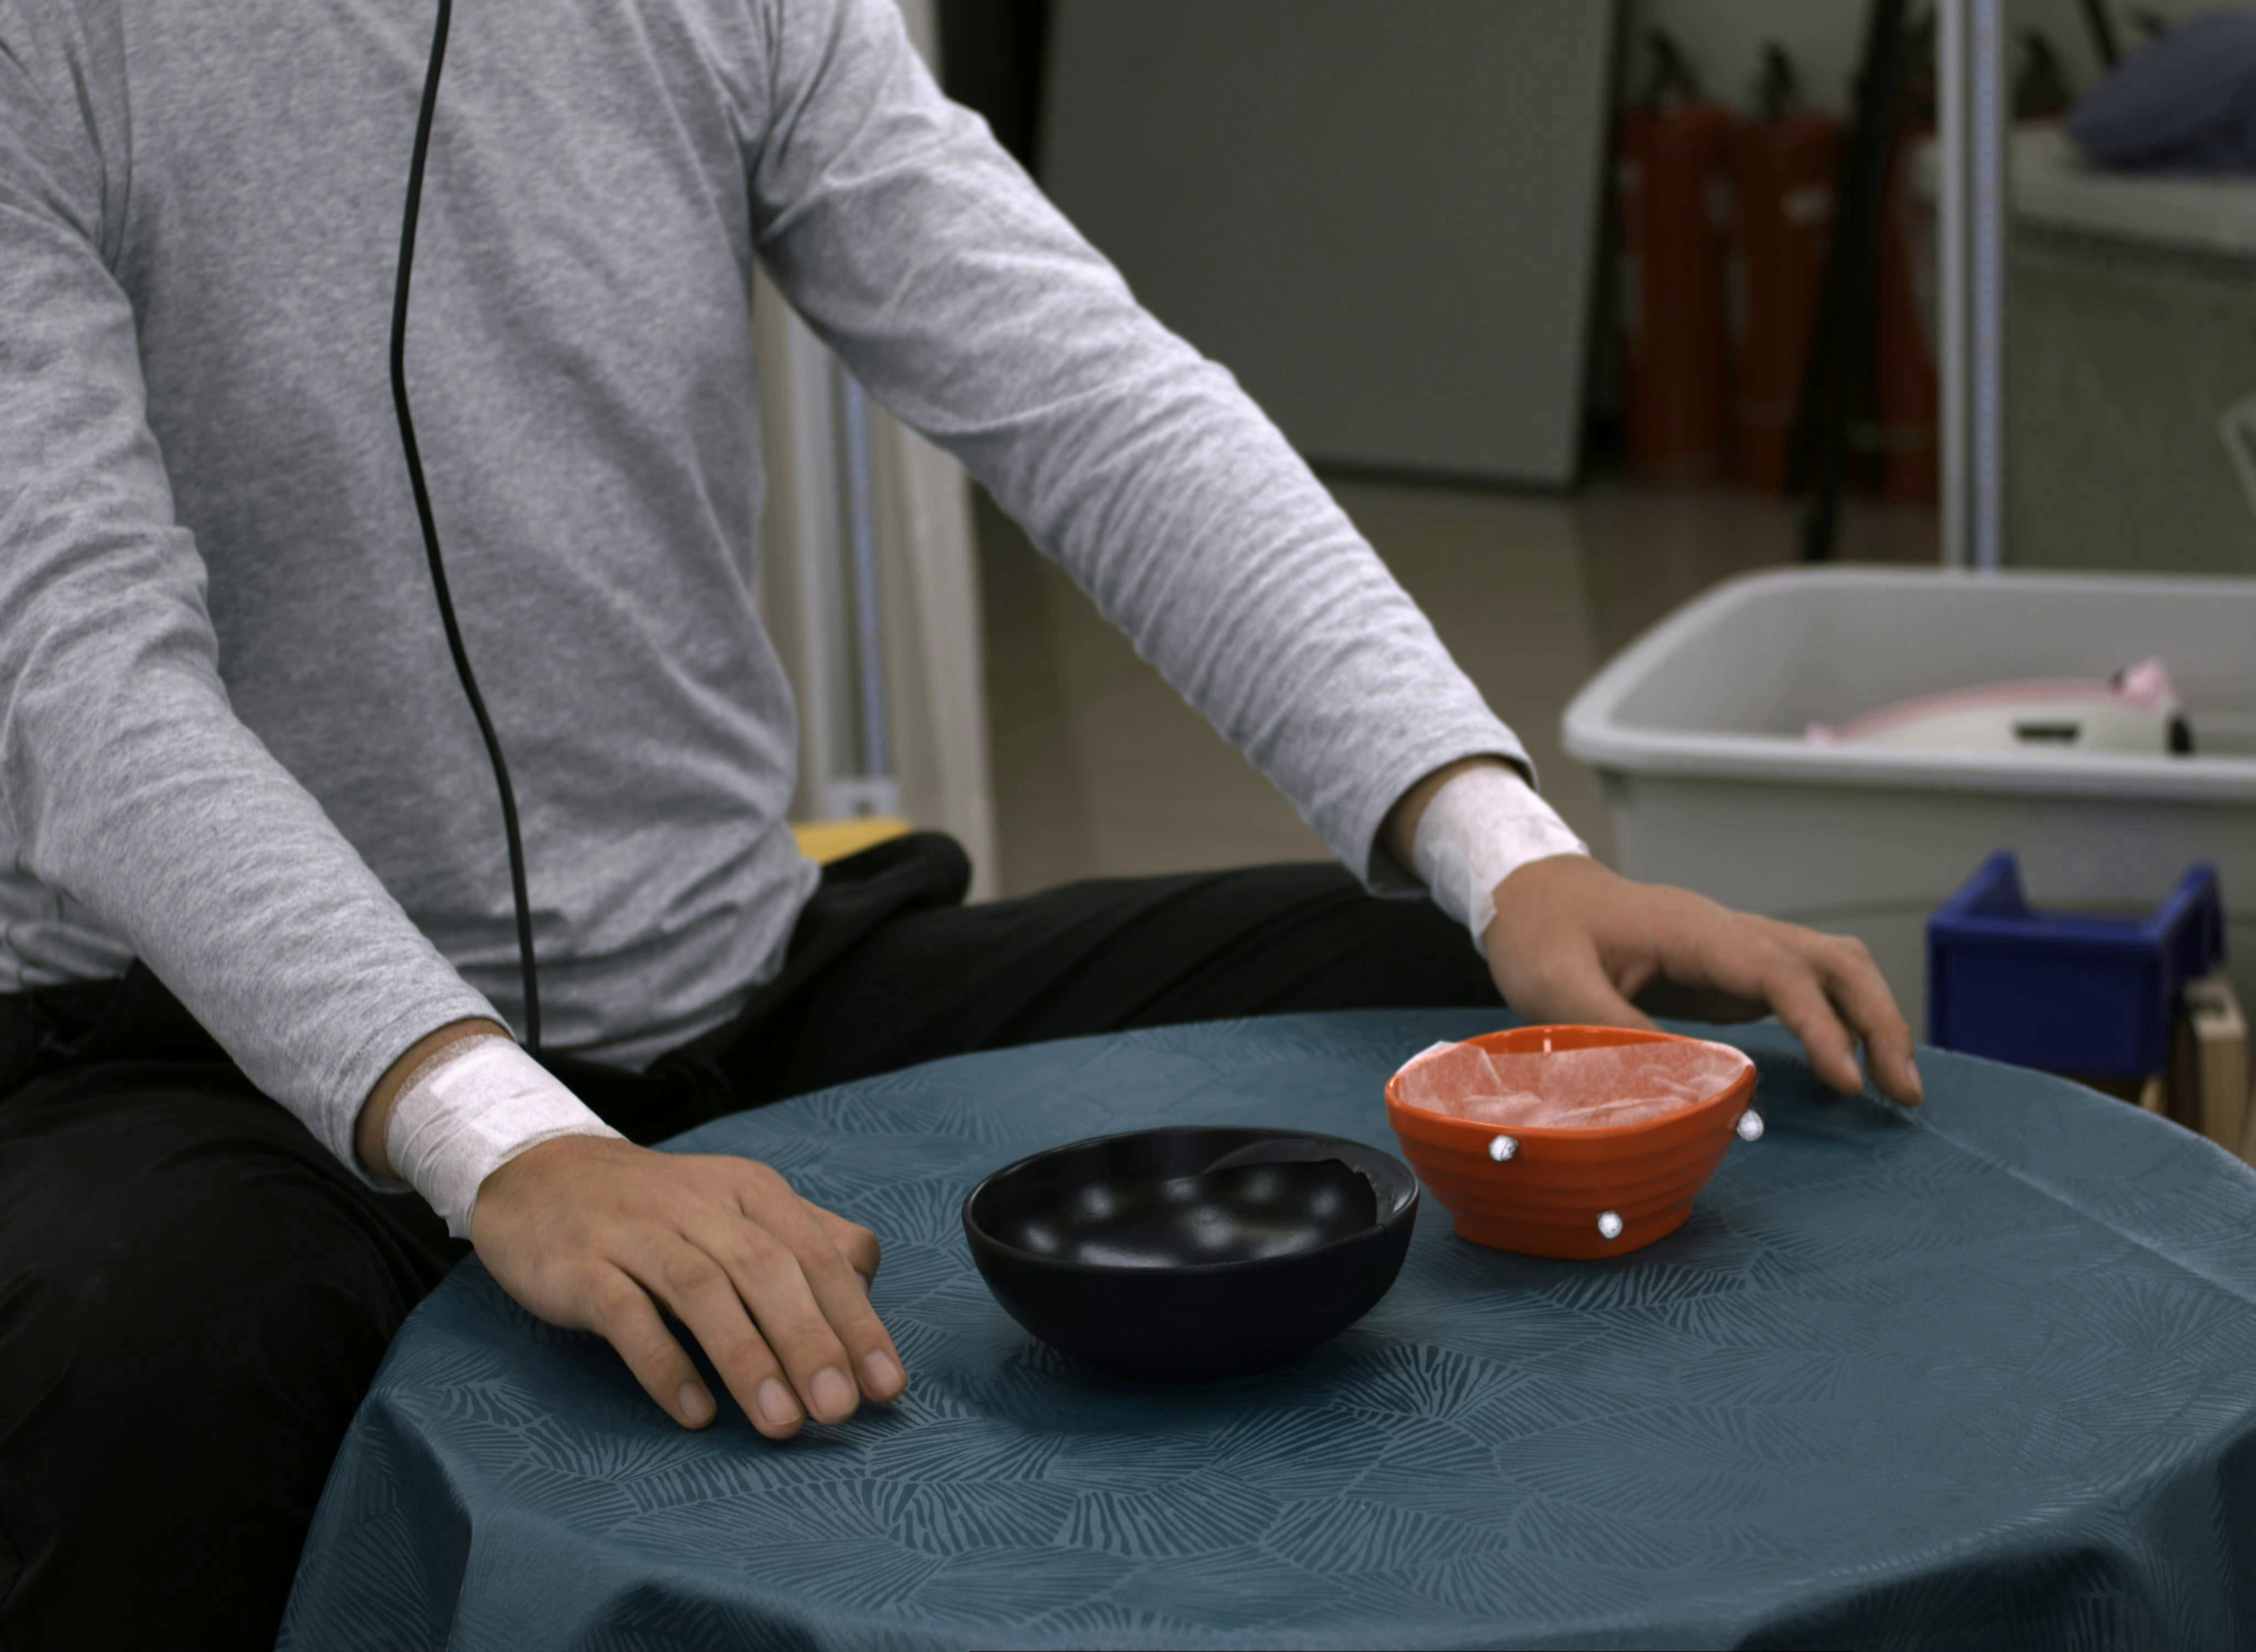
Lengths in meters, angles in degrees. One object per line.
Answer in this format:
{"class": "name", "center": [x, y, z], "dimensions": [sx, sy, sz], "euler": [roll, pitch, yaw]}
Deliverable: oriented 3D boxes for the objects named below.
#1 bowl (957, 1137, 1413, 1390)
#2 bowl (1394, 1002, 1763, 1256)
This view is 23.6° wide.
{"class": "bowl", "center": [0.019, 0.135, 1.616], "dimensions": [0.138, 0.050, 0.140], "euler": [-5, 11, 0]}
{"class": "bowl", "center": [0.143, 0.098, 1.704], "dimensions": [0.117, 0.052, 0.119], "euler": [-1, 18, 0]}
